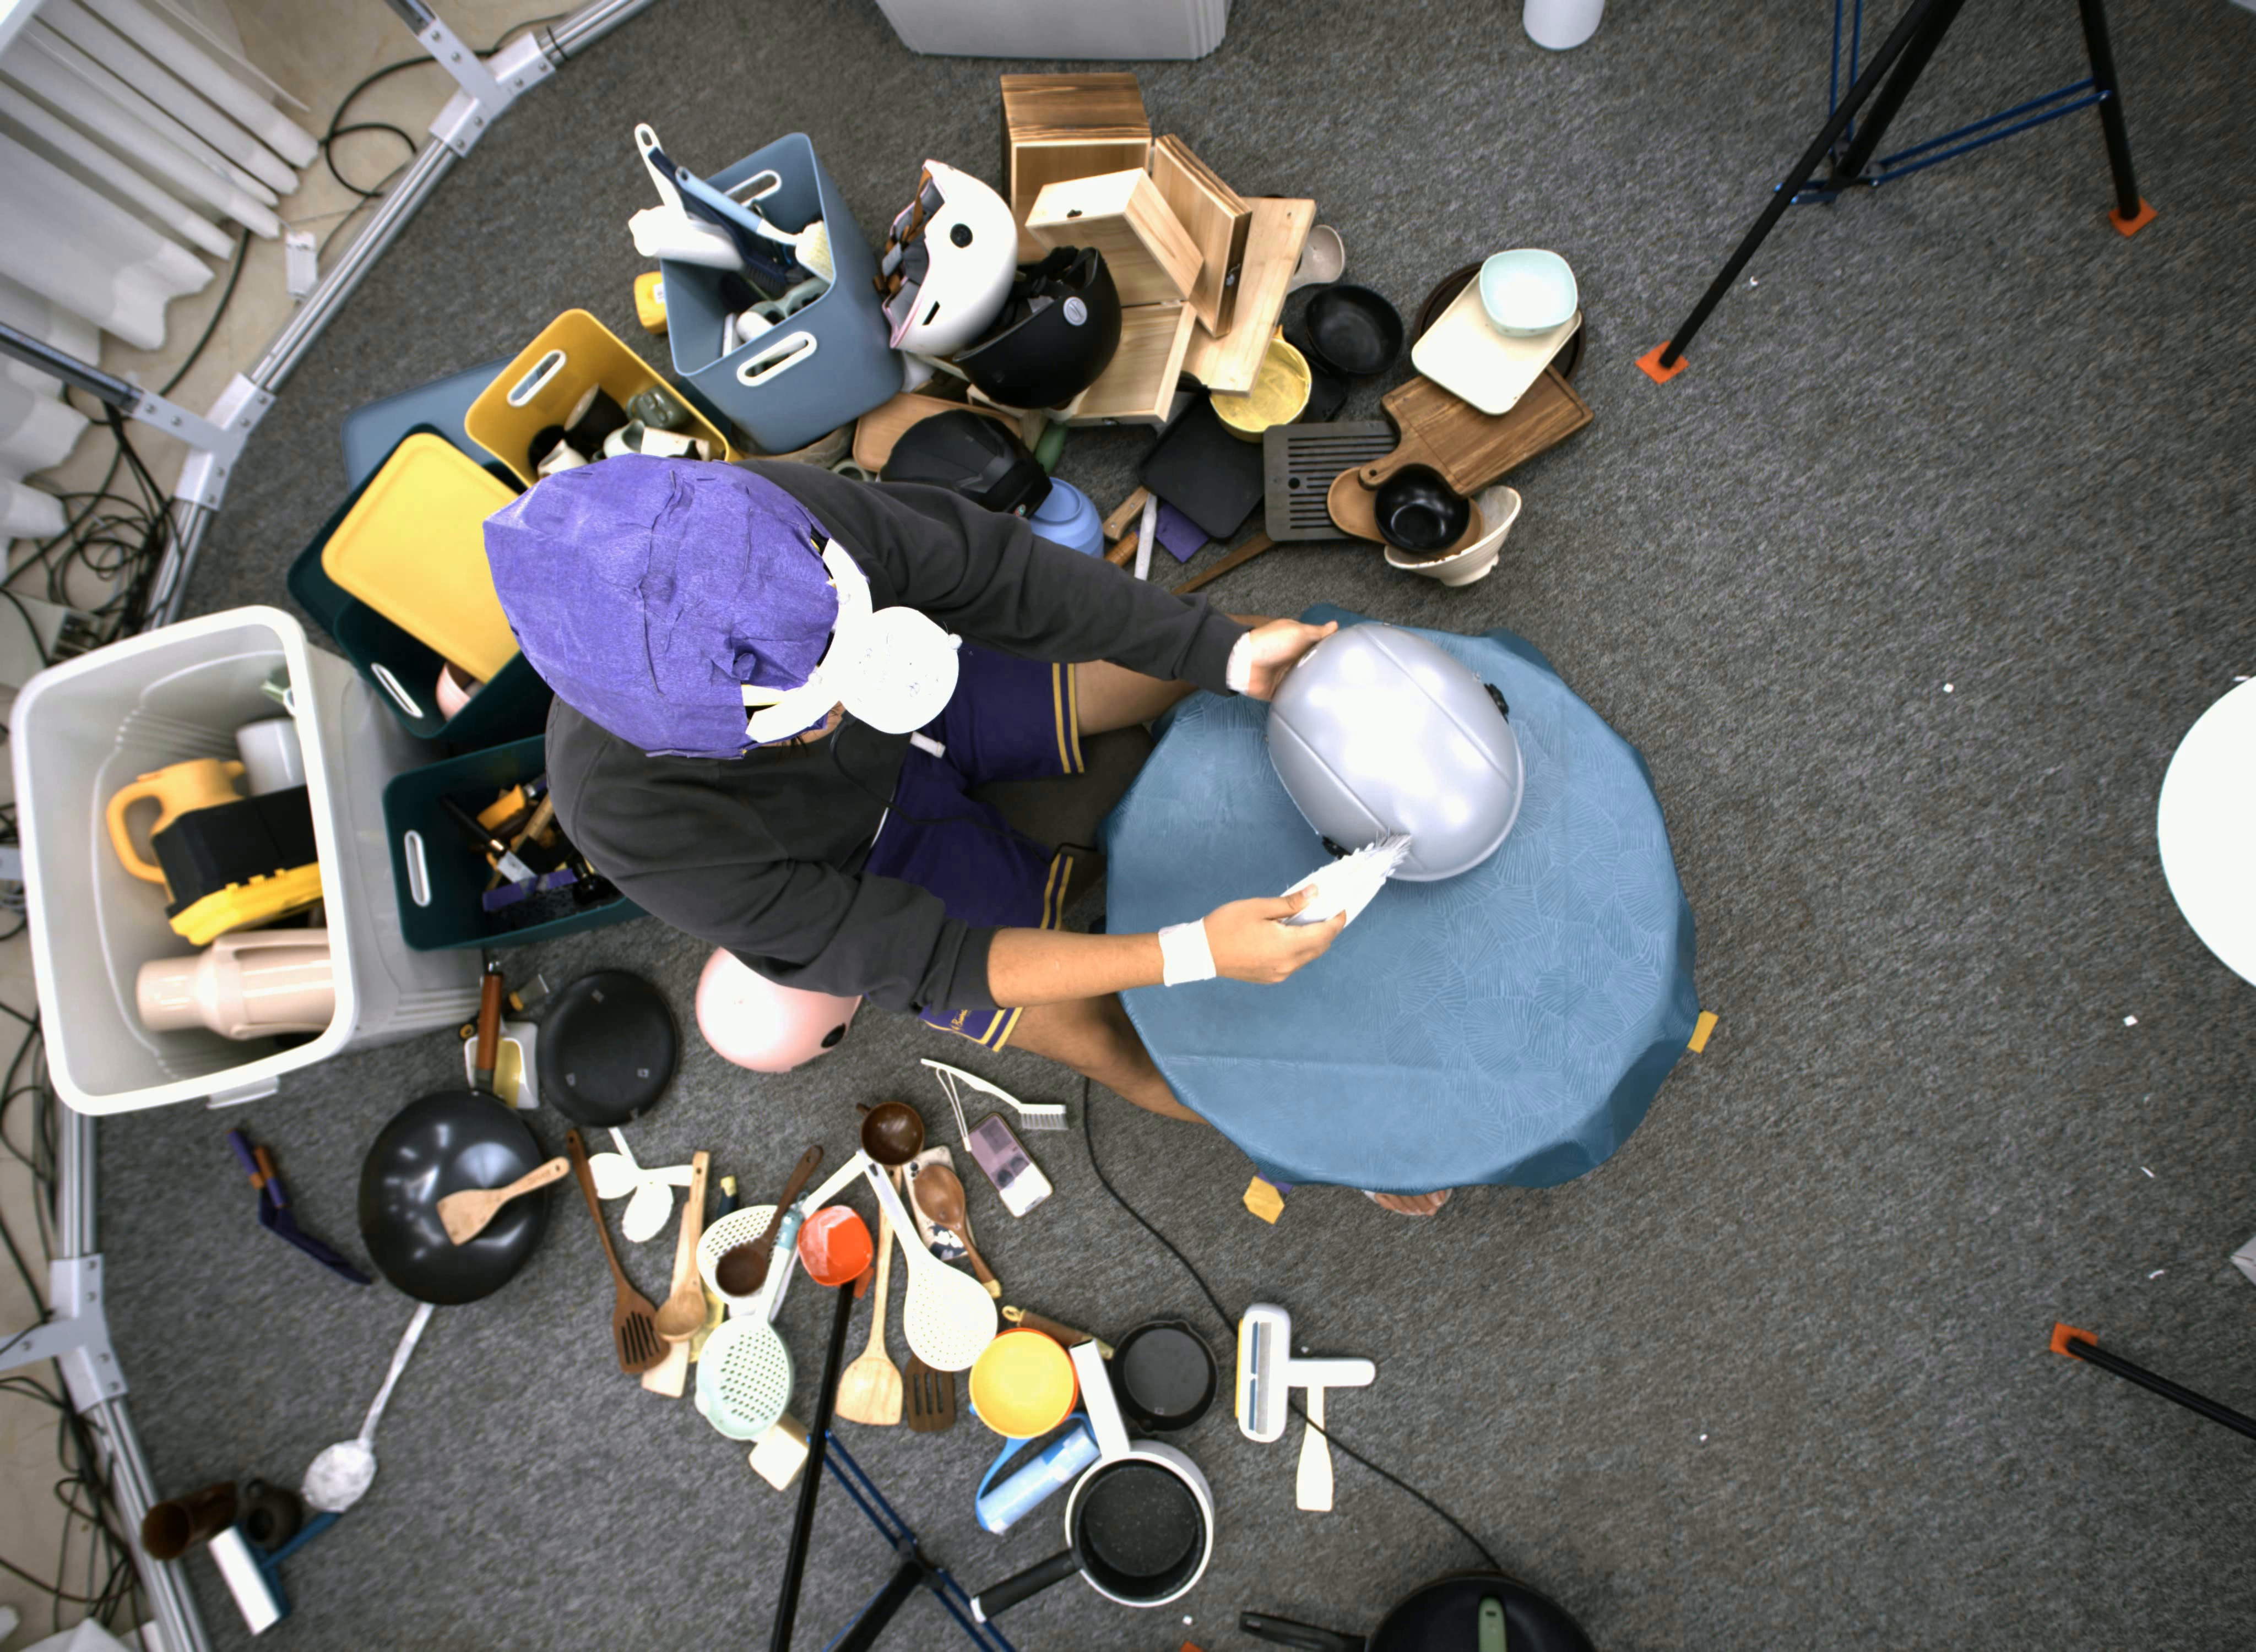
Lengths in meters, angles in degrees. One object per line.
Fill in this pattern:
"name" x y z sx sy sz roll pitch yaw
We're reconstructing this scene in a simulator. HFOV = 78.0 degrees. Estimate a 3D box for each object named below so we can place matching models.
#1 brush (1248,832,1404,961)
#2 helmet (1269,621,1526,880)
"brush" 0.184 0.067 1.296 0.179 0.092 0.061 -40 90 26
"helmet" 0.260 -0.077 1.336 0.234 0.168 0.275 -44 81 11
